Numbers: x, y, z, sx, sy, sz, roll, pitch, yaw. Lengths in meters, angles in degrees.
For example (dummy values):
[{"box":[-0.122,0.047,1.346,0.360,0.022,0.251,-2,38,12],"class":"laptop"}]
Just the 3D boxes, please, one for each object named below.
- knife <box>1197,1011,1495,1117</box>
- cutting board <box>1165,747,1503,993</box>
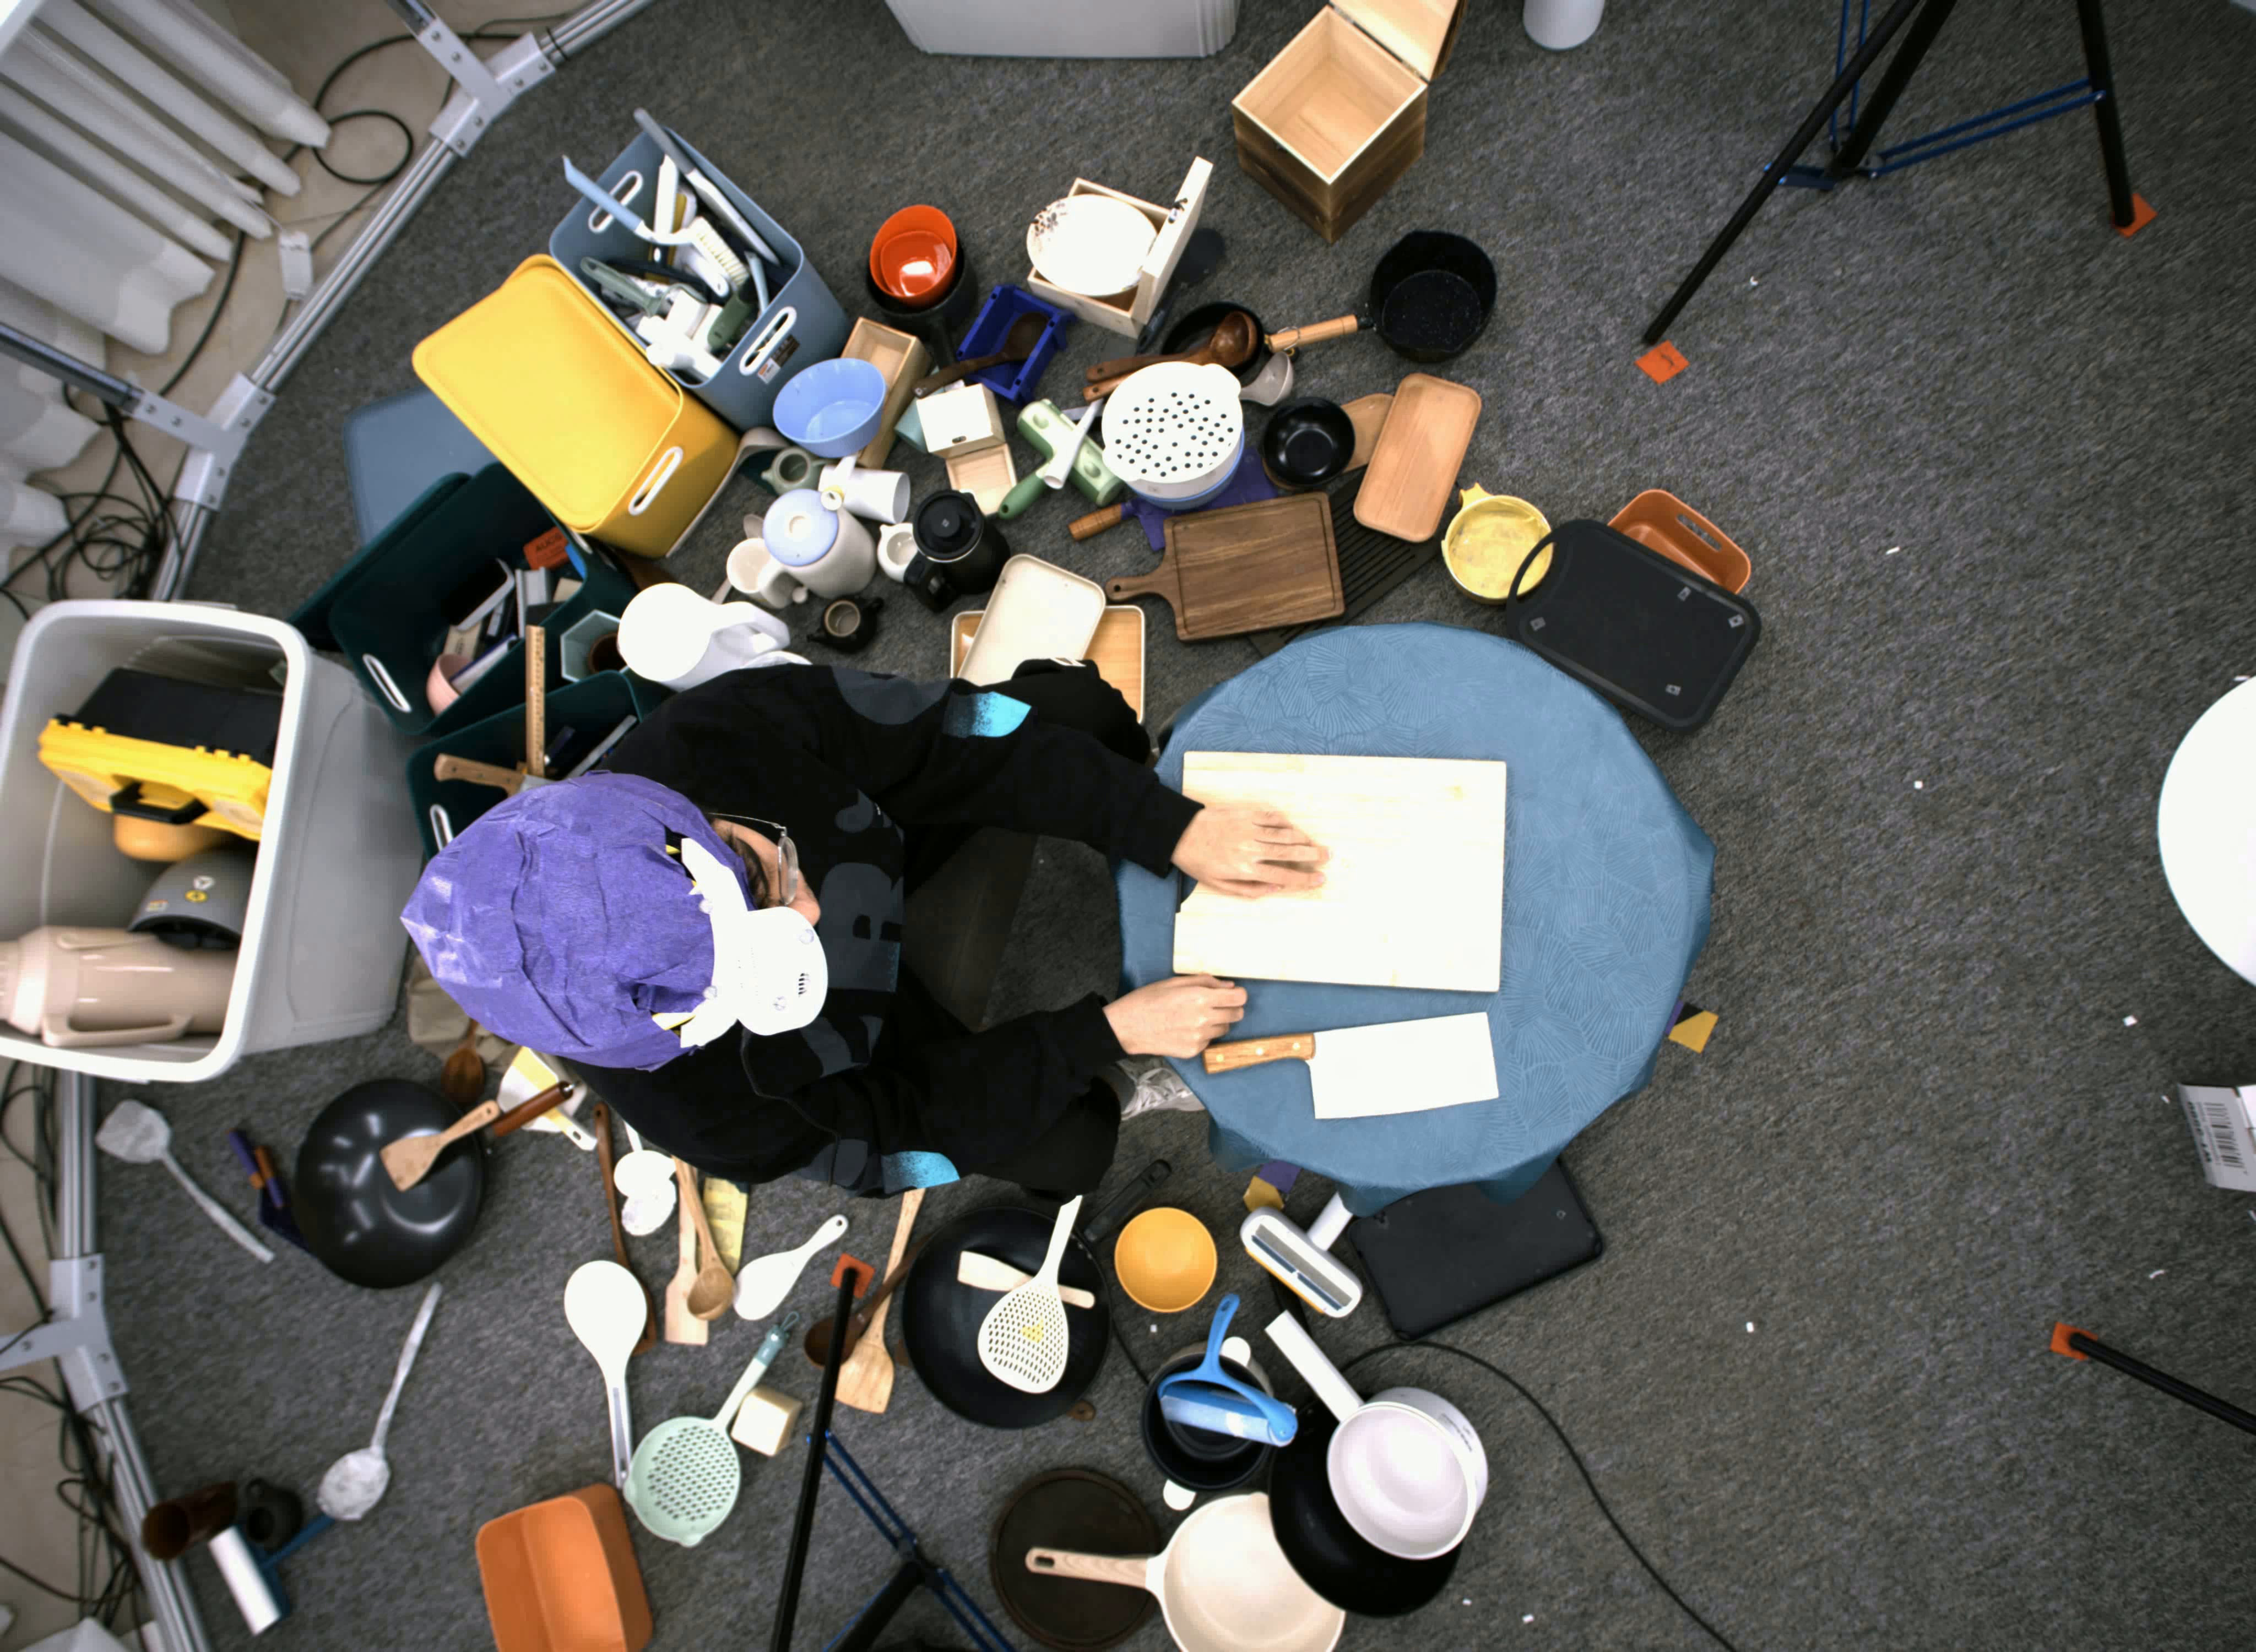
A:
[{"box":[0.228,0.254,1.450,0.307,0.021,0.092,-8,88,8],"class":"knife"},{"box":[0.217,0.043,1.463,0.350,0.023,0.249,1,87,10],"class":"cutting board"}]
